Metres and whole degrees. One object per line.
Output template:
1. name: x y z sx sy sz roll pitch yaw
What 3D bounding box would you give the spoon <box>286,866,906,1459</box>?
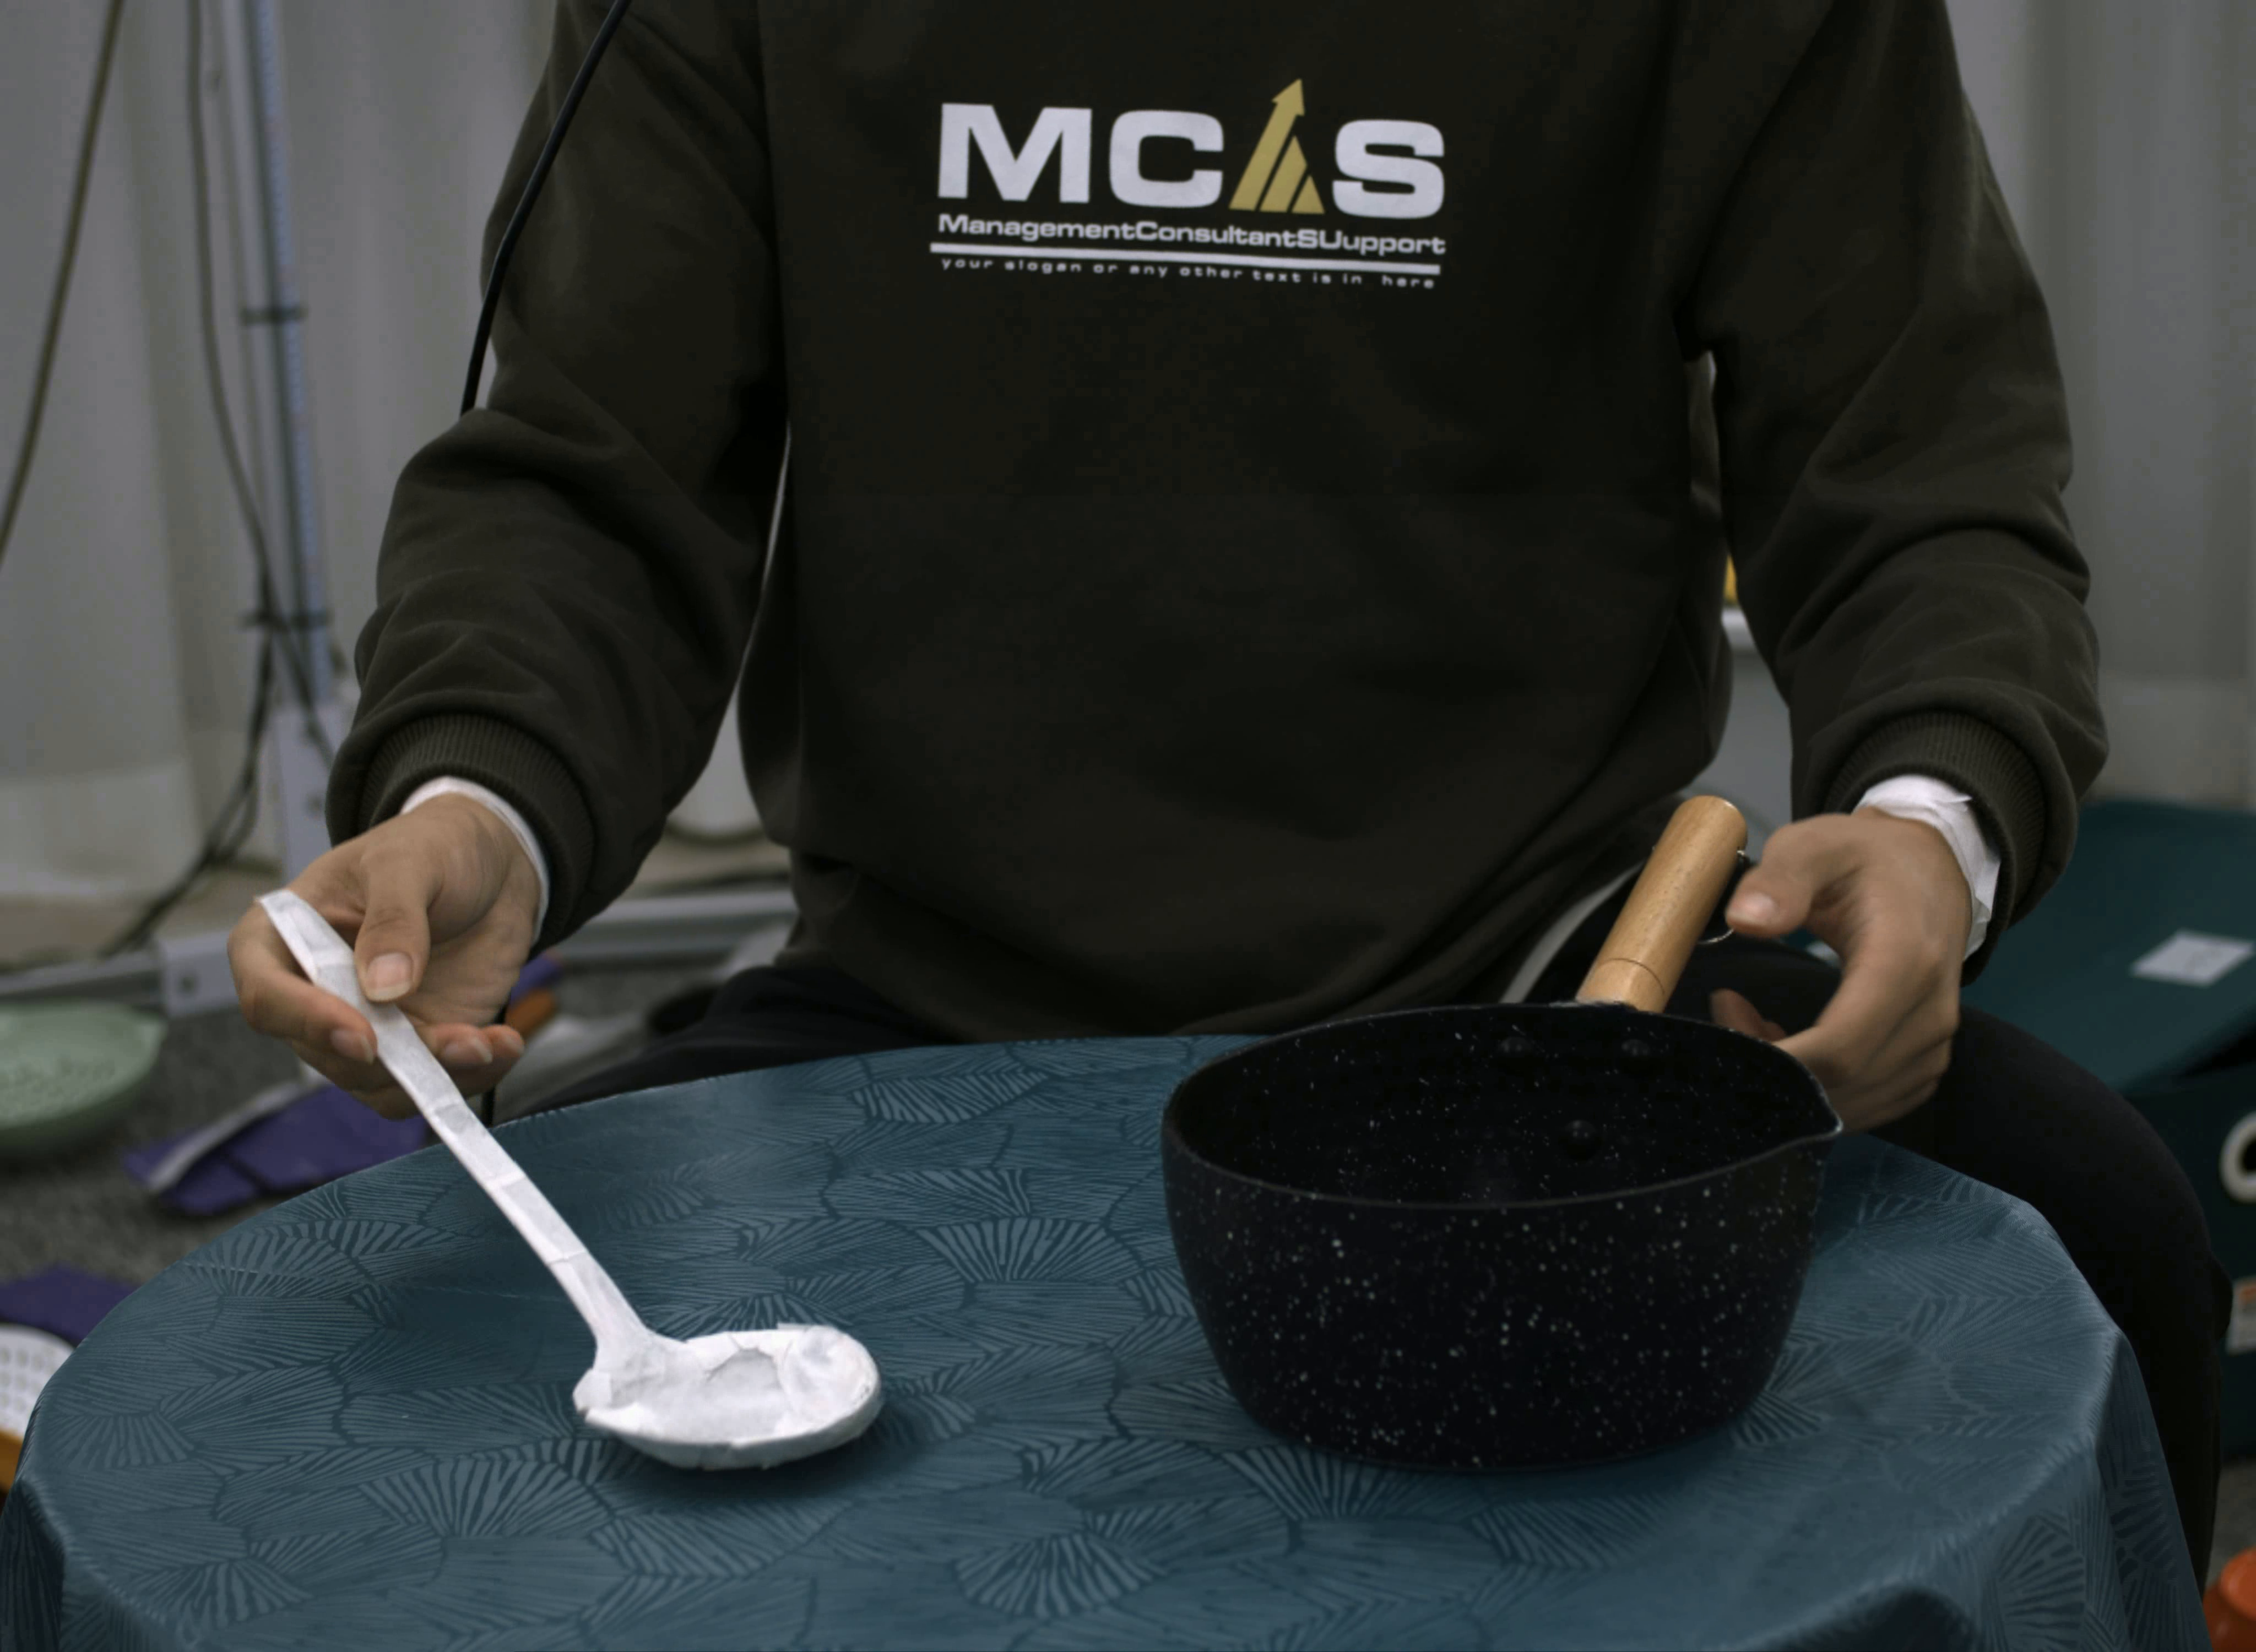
1. spoon: -0.160 0.088 1.573 0.100 0.059 0.281 -7 46 -42

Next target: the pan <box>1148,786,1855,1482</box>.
1. pan: 0.128 0.085 1.599 0.207 0.108 0.344 1 16 20
